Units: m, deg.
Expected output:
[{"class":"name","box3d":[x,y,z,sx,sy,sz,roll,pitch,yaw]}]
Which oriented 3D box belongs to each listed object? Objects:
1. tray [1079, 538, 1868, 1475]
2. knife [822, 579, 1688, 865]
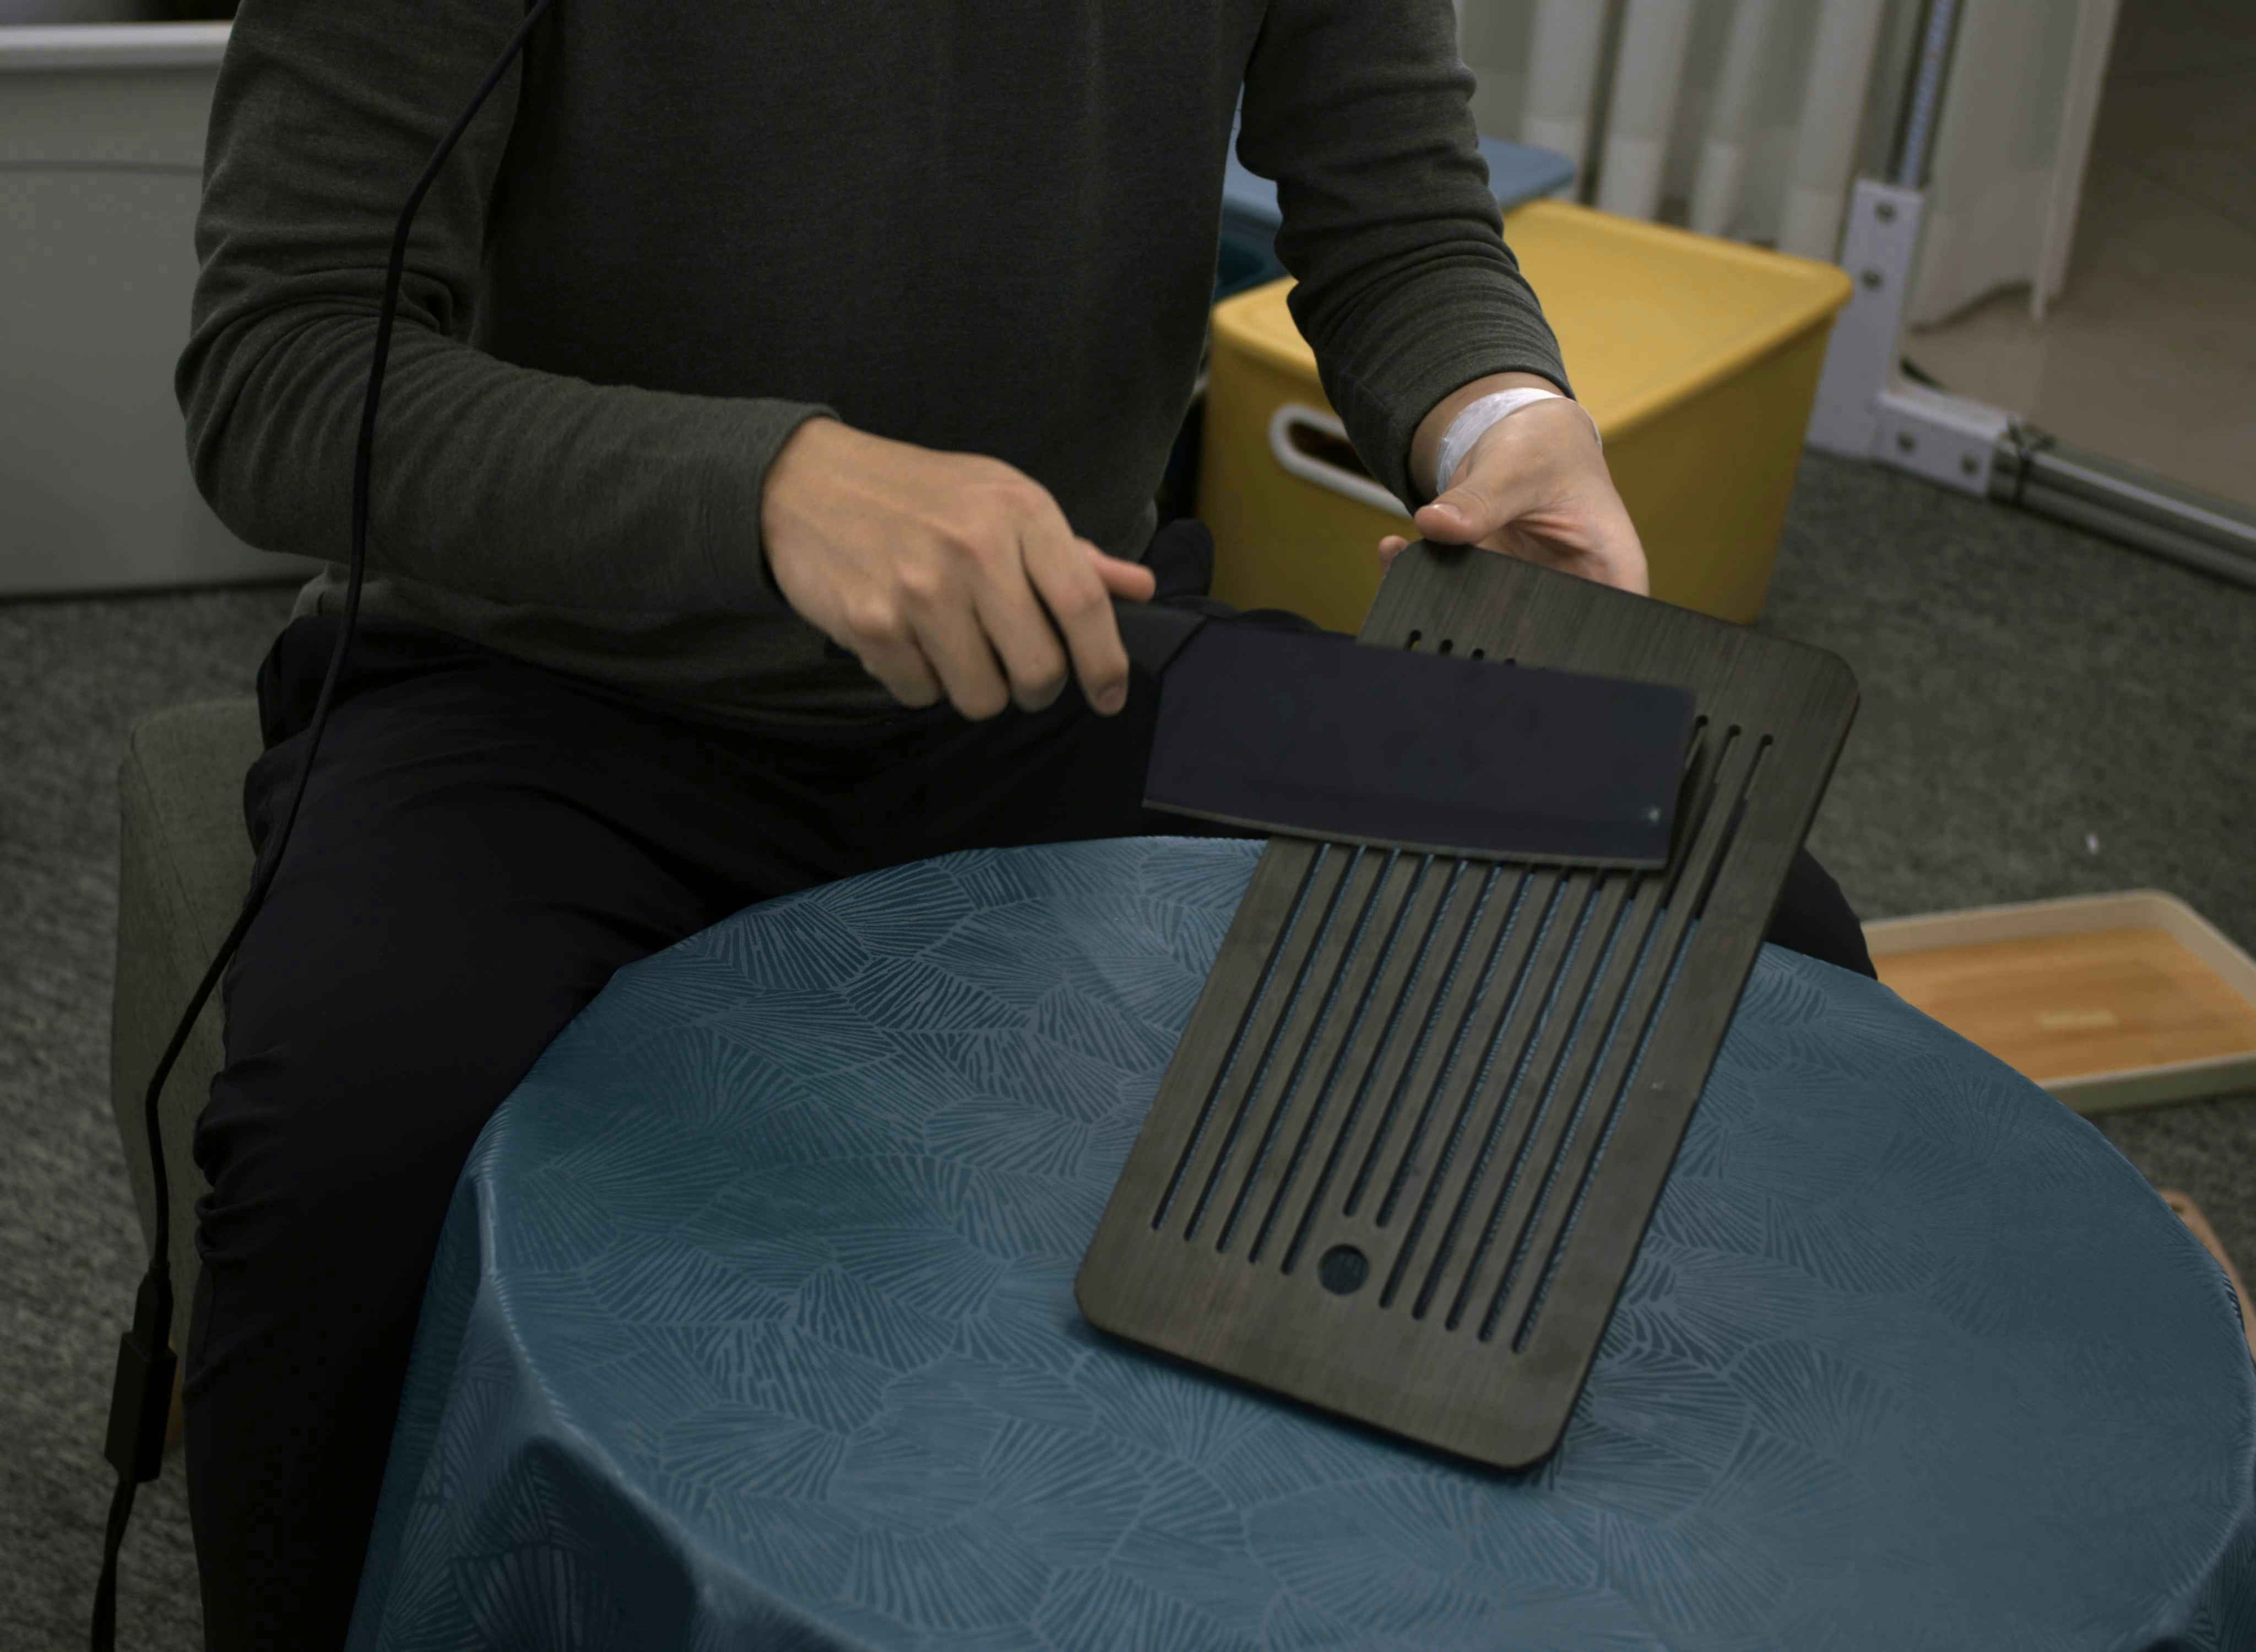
[{"class":"tray","box3d":[0.116,0.055,1.748,0.171,0.018,0.307,17,68,21]},{"class":"knife","box3d":[0.039,-0.038,1.787,0.303,0.081,0.021,13,-9,18]}]
